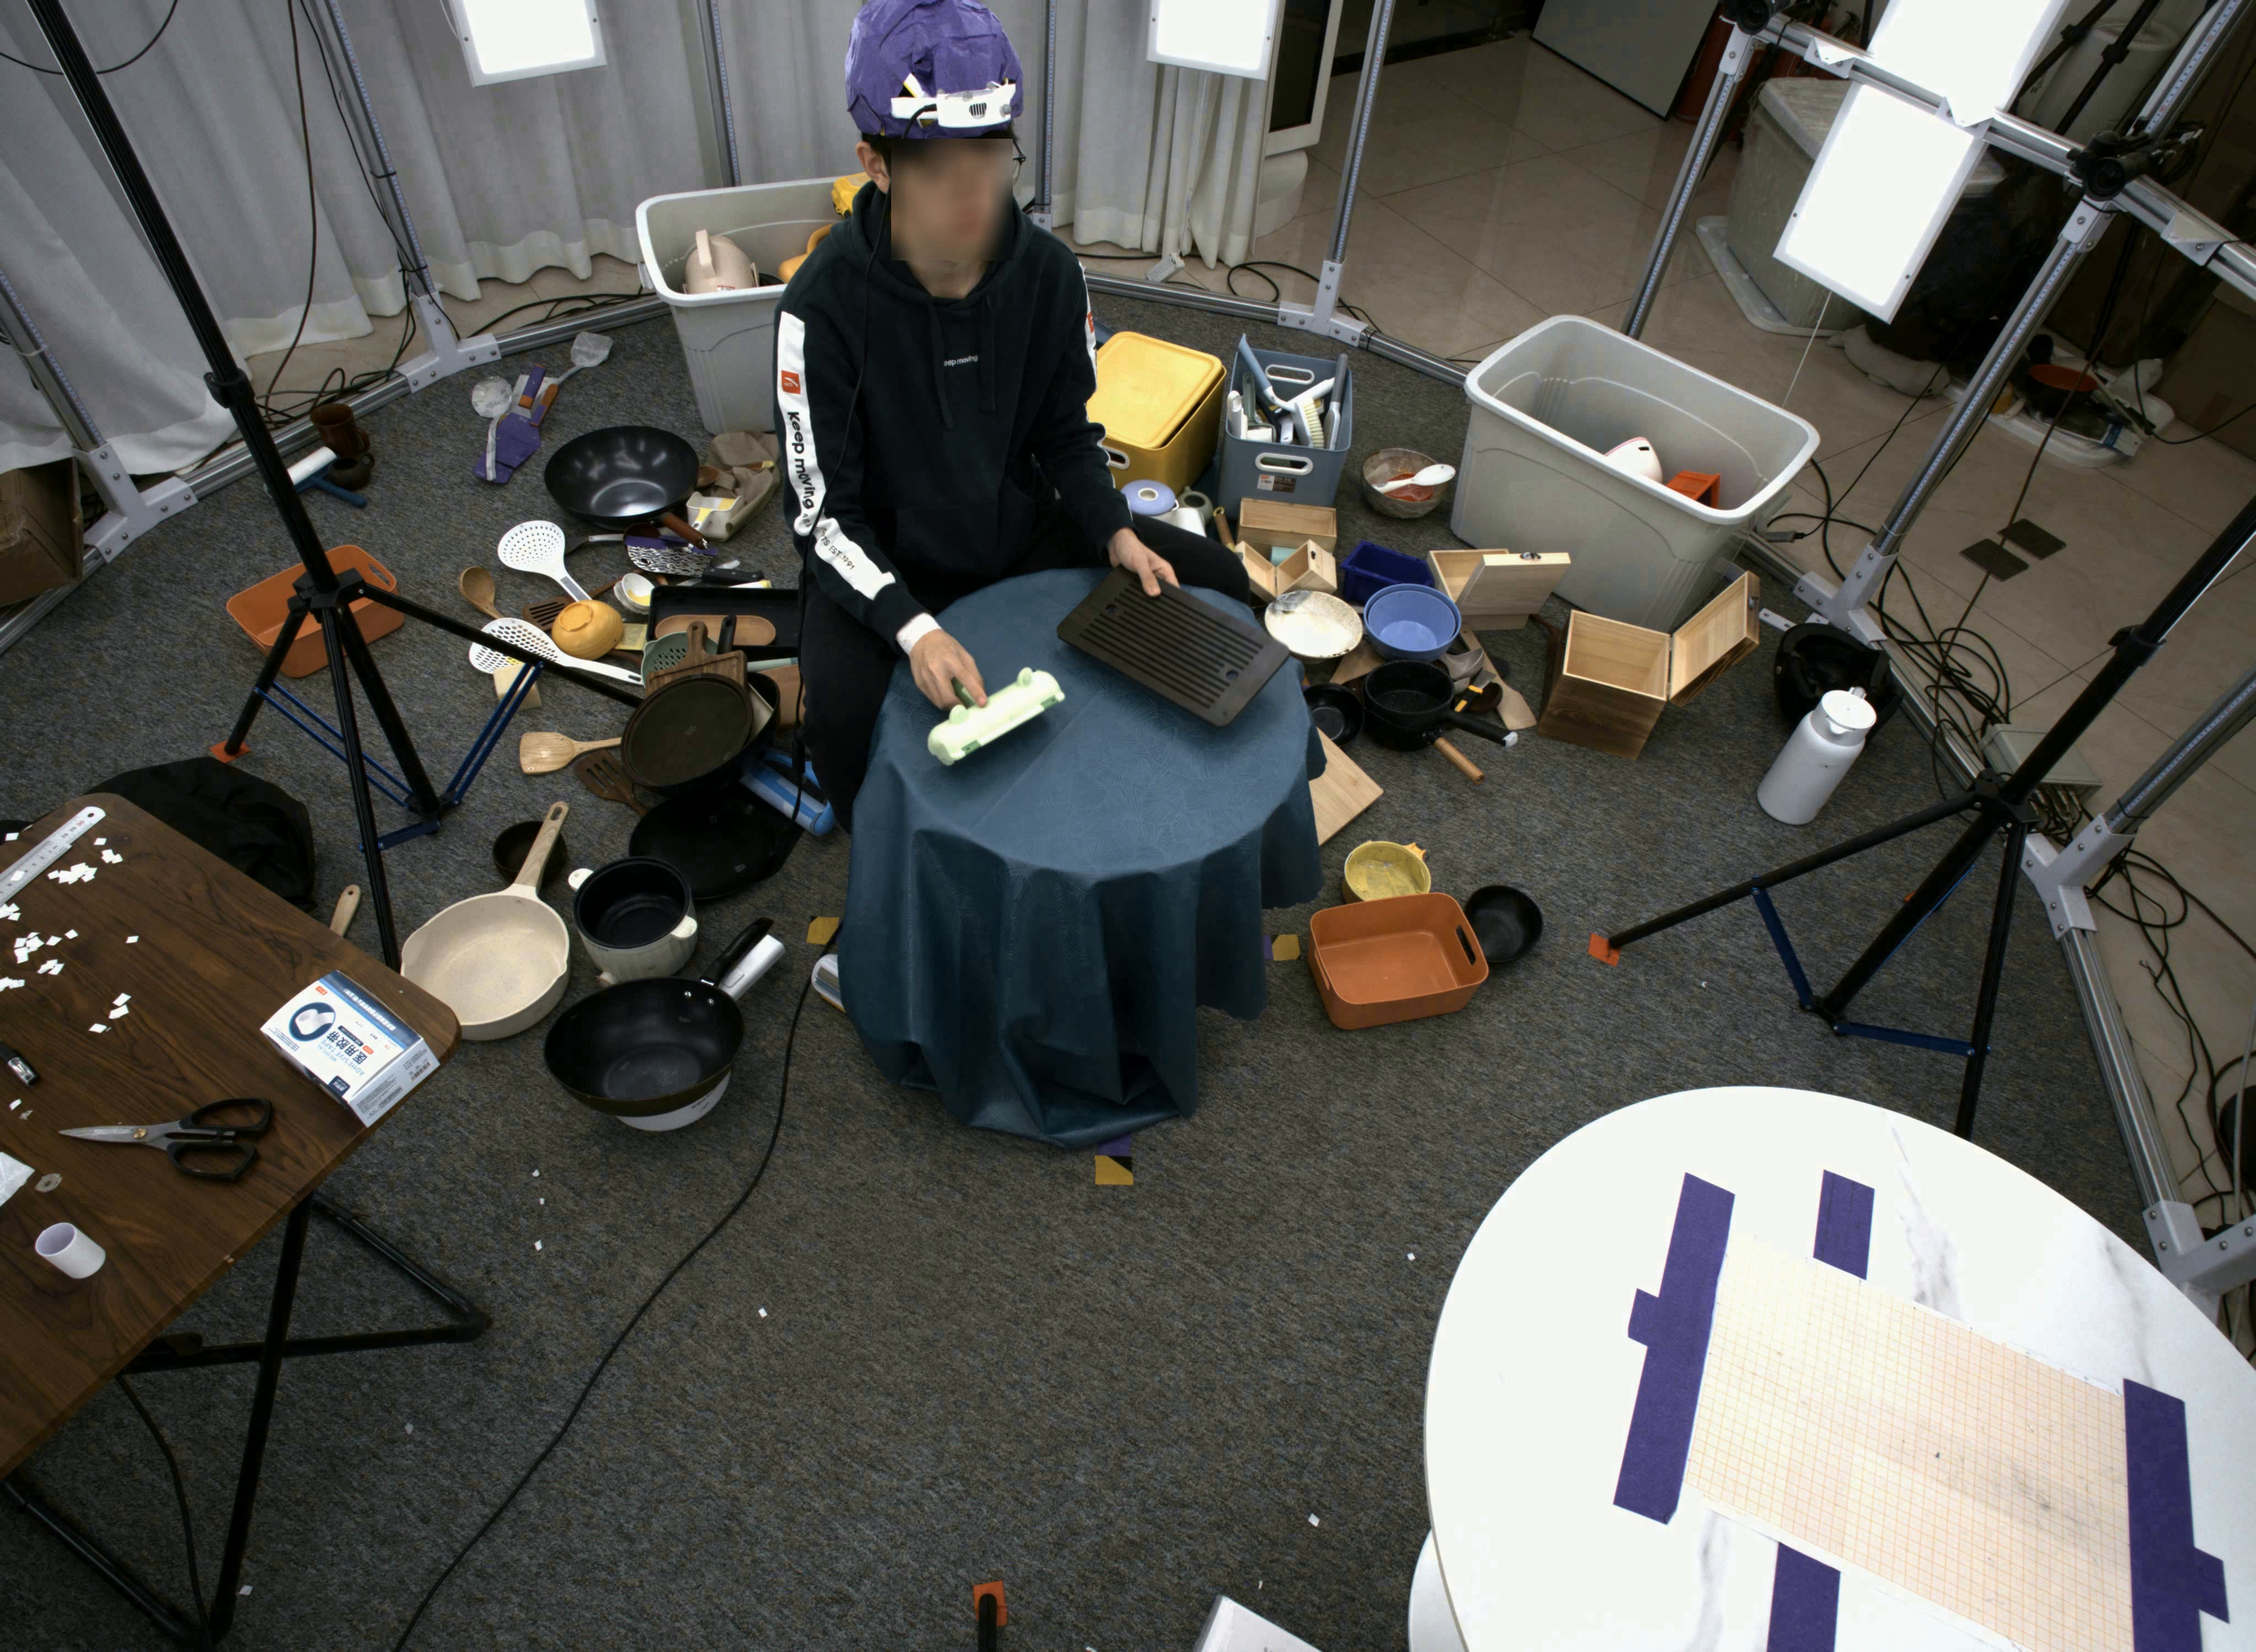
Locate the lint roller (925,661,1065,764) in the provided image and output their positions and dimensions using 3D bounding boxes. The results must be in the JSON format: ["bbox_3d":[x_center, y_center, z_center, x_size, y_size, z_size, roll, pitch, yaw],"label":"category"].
[{"bbox_3d":[-0.214,-0.187,1.740,0.200,0.080,0.186,-33,62,-29],"label":"lint roller"}]

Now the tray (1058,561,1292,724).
[{"bbox_3d":[0.065,-0.265,1.836,0.310,0.018,0.172,31,65,24],"label":"tray"}]
